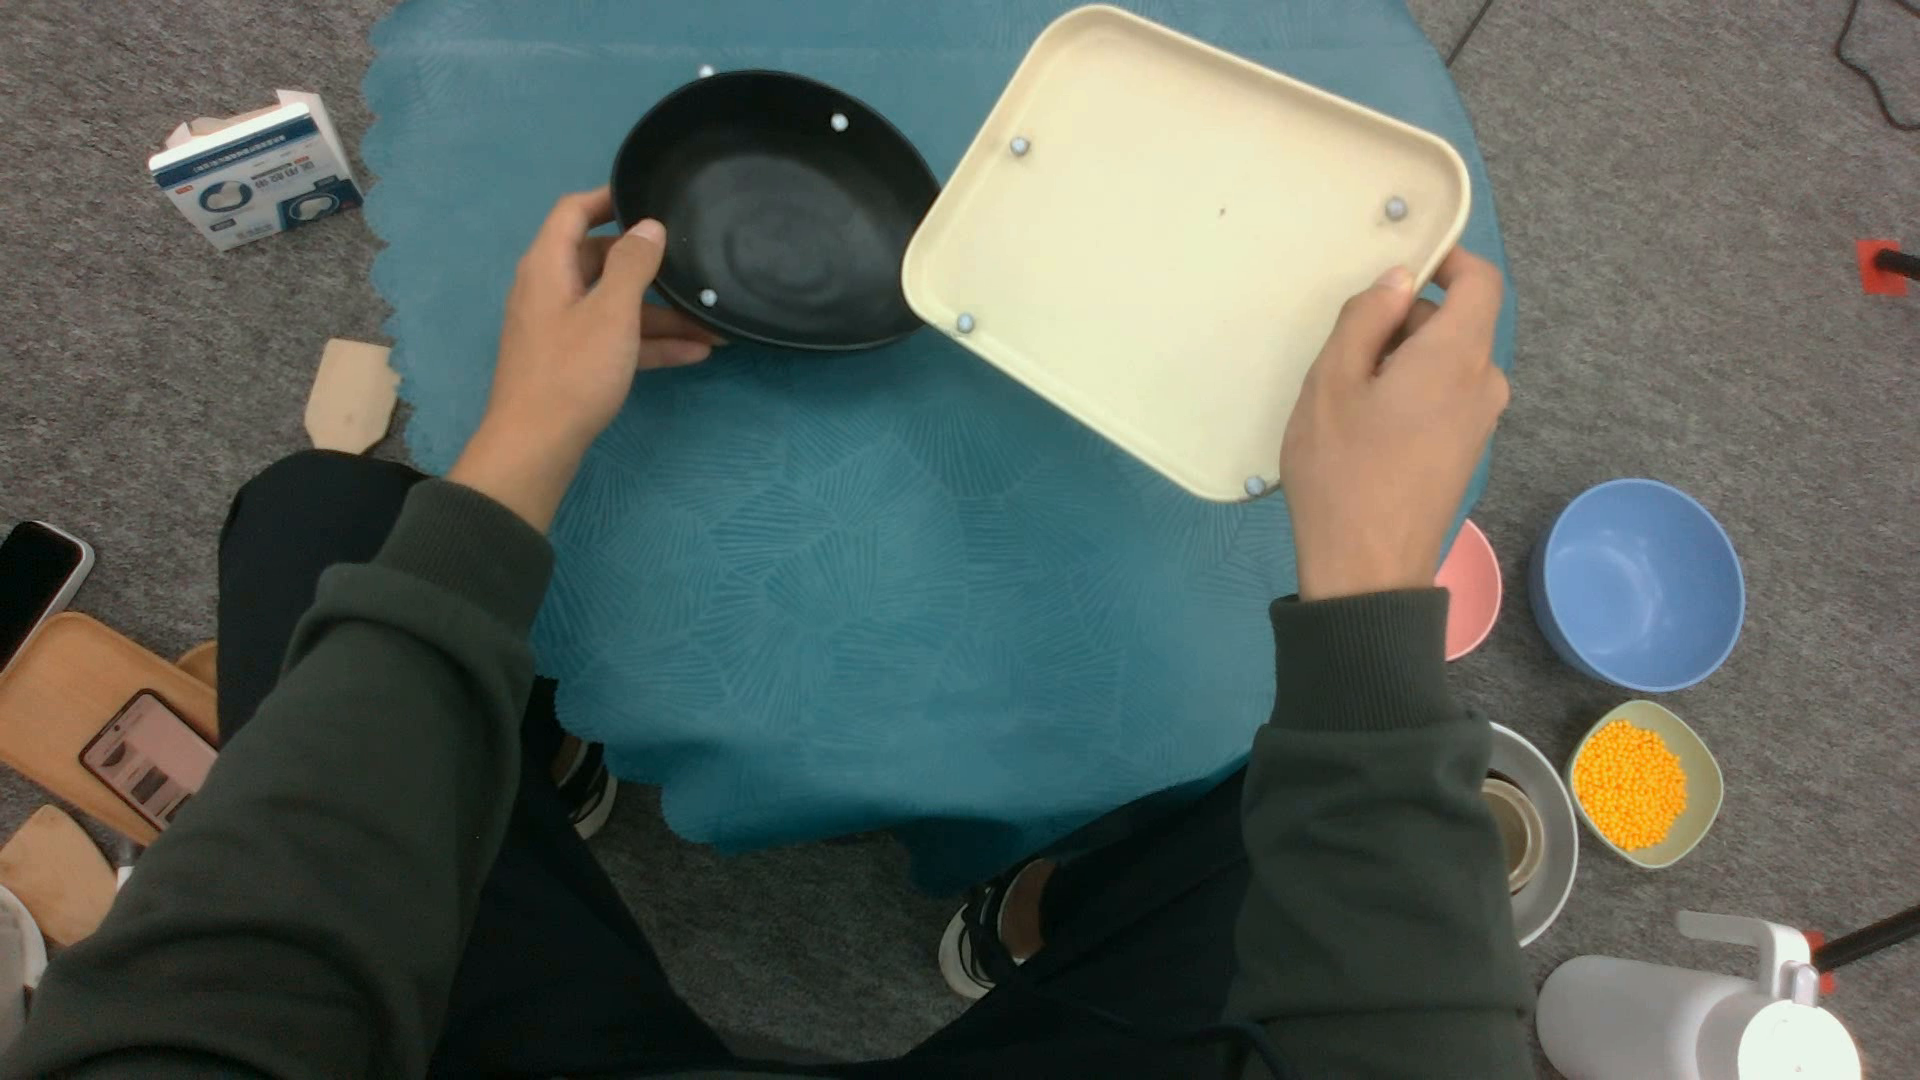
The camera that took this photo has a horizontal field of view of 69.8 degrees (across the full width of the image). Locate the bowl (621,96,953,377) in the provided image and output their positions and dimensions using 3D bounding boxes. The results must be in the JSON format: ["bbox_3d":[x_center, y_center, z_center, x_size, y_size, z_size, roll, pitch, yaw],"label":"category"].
[{"bbox_3d":[-0.087,-0.146,0.701,0.170,0.066,0.137,17,77,-12],"label":"bowl"}]

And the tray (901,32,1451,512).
[{"bbox_3d":[0.087,-0.128,0.627,0.240,0.017,0.171,37,97,35],"label":"tray"}]
